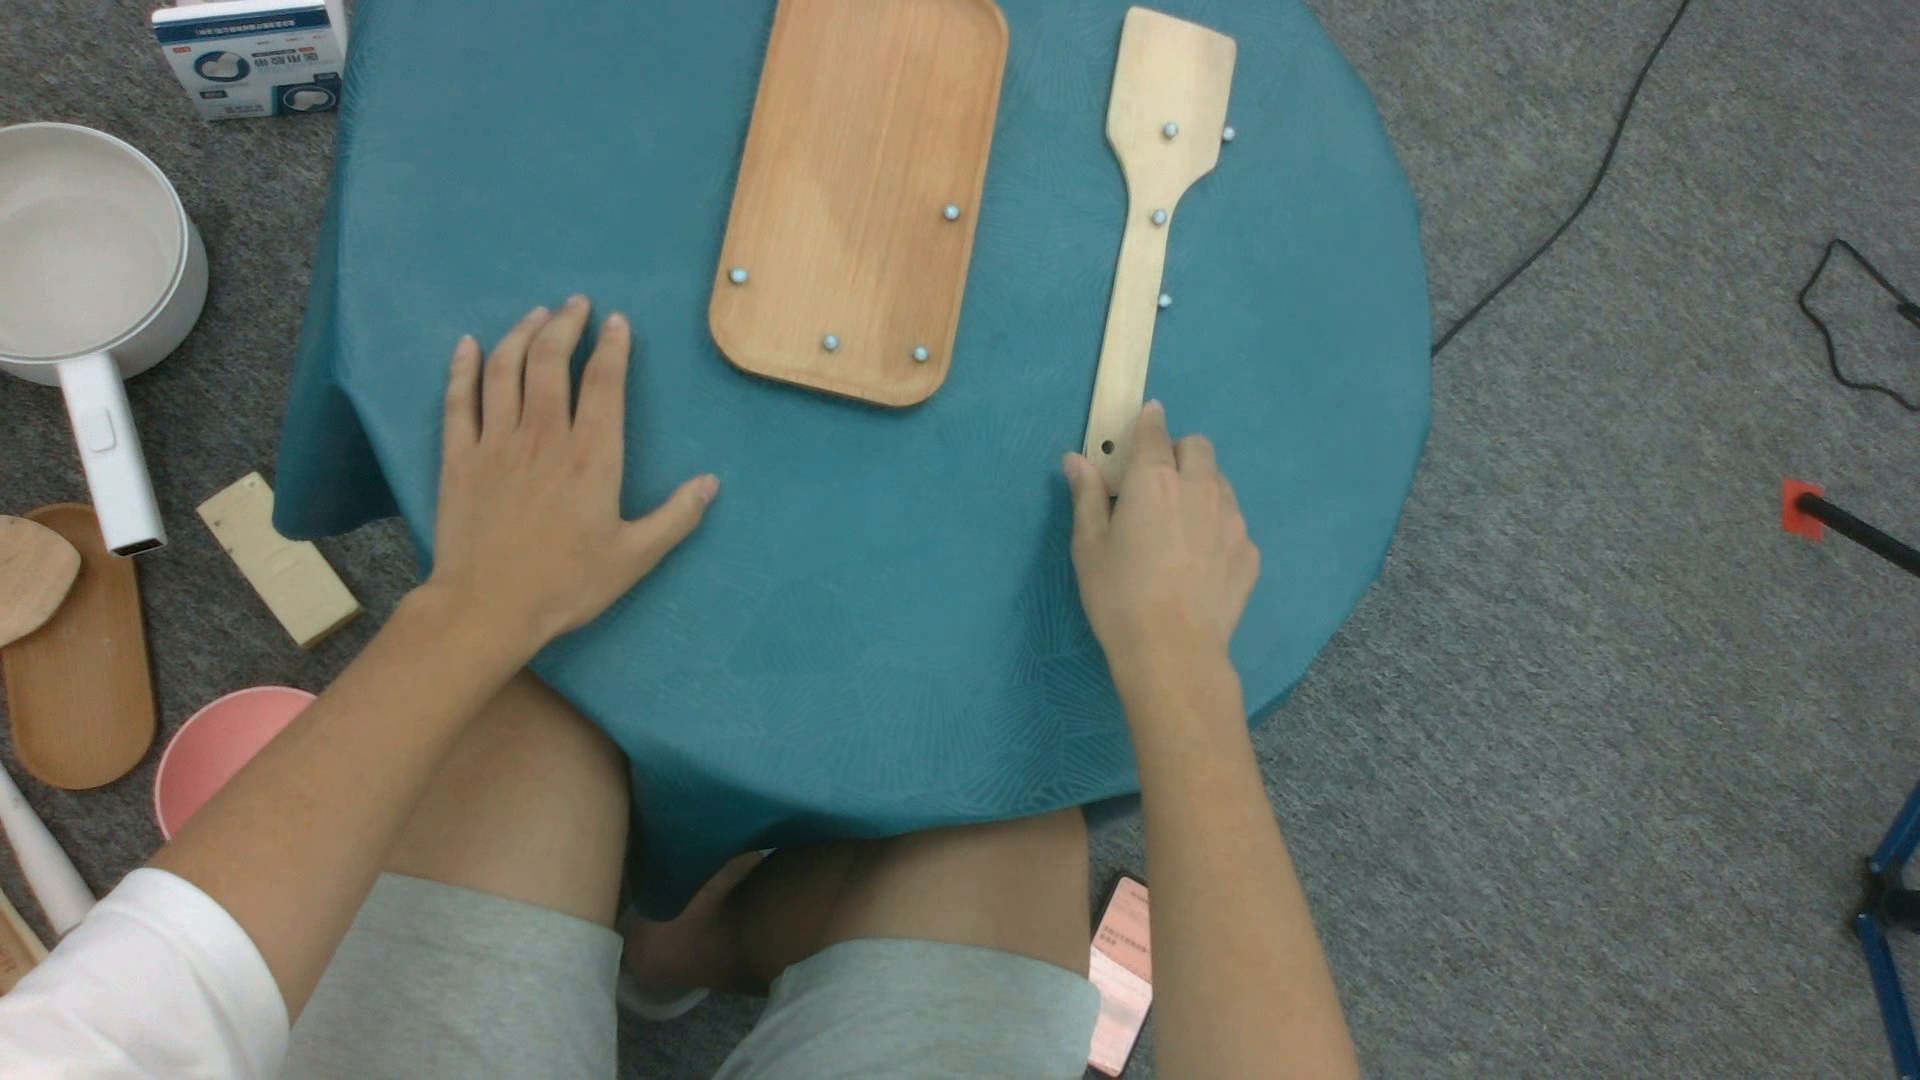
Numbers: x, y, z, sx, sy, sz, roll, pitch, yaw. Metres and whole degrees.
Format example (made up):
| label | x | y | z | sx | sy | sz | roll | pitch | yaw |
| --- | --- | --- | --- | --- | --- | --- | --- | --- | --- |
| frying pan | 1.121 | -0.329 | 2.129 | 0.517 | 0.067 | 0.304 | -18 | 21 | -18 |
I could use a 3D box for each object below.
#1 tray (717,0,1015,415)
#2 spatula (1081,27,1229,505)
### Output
| label | x | y | z | sx | sy | sz | roll | pitch | yaw |
| --- | --- | --- | --- | --- | --- | --- | --- | --- | --- |
| tray | -0.049 | -0.194 | 0.757 | 0.130 | 0.023 | 0.251 | 14 | 74 | -12 |
| spatula | 0.105 | -0.159 | 0.788 | 0.072 | 0.010 | 0.293 | 13 | 75 | -10 |
